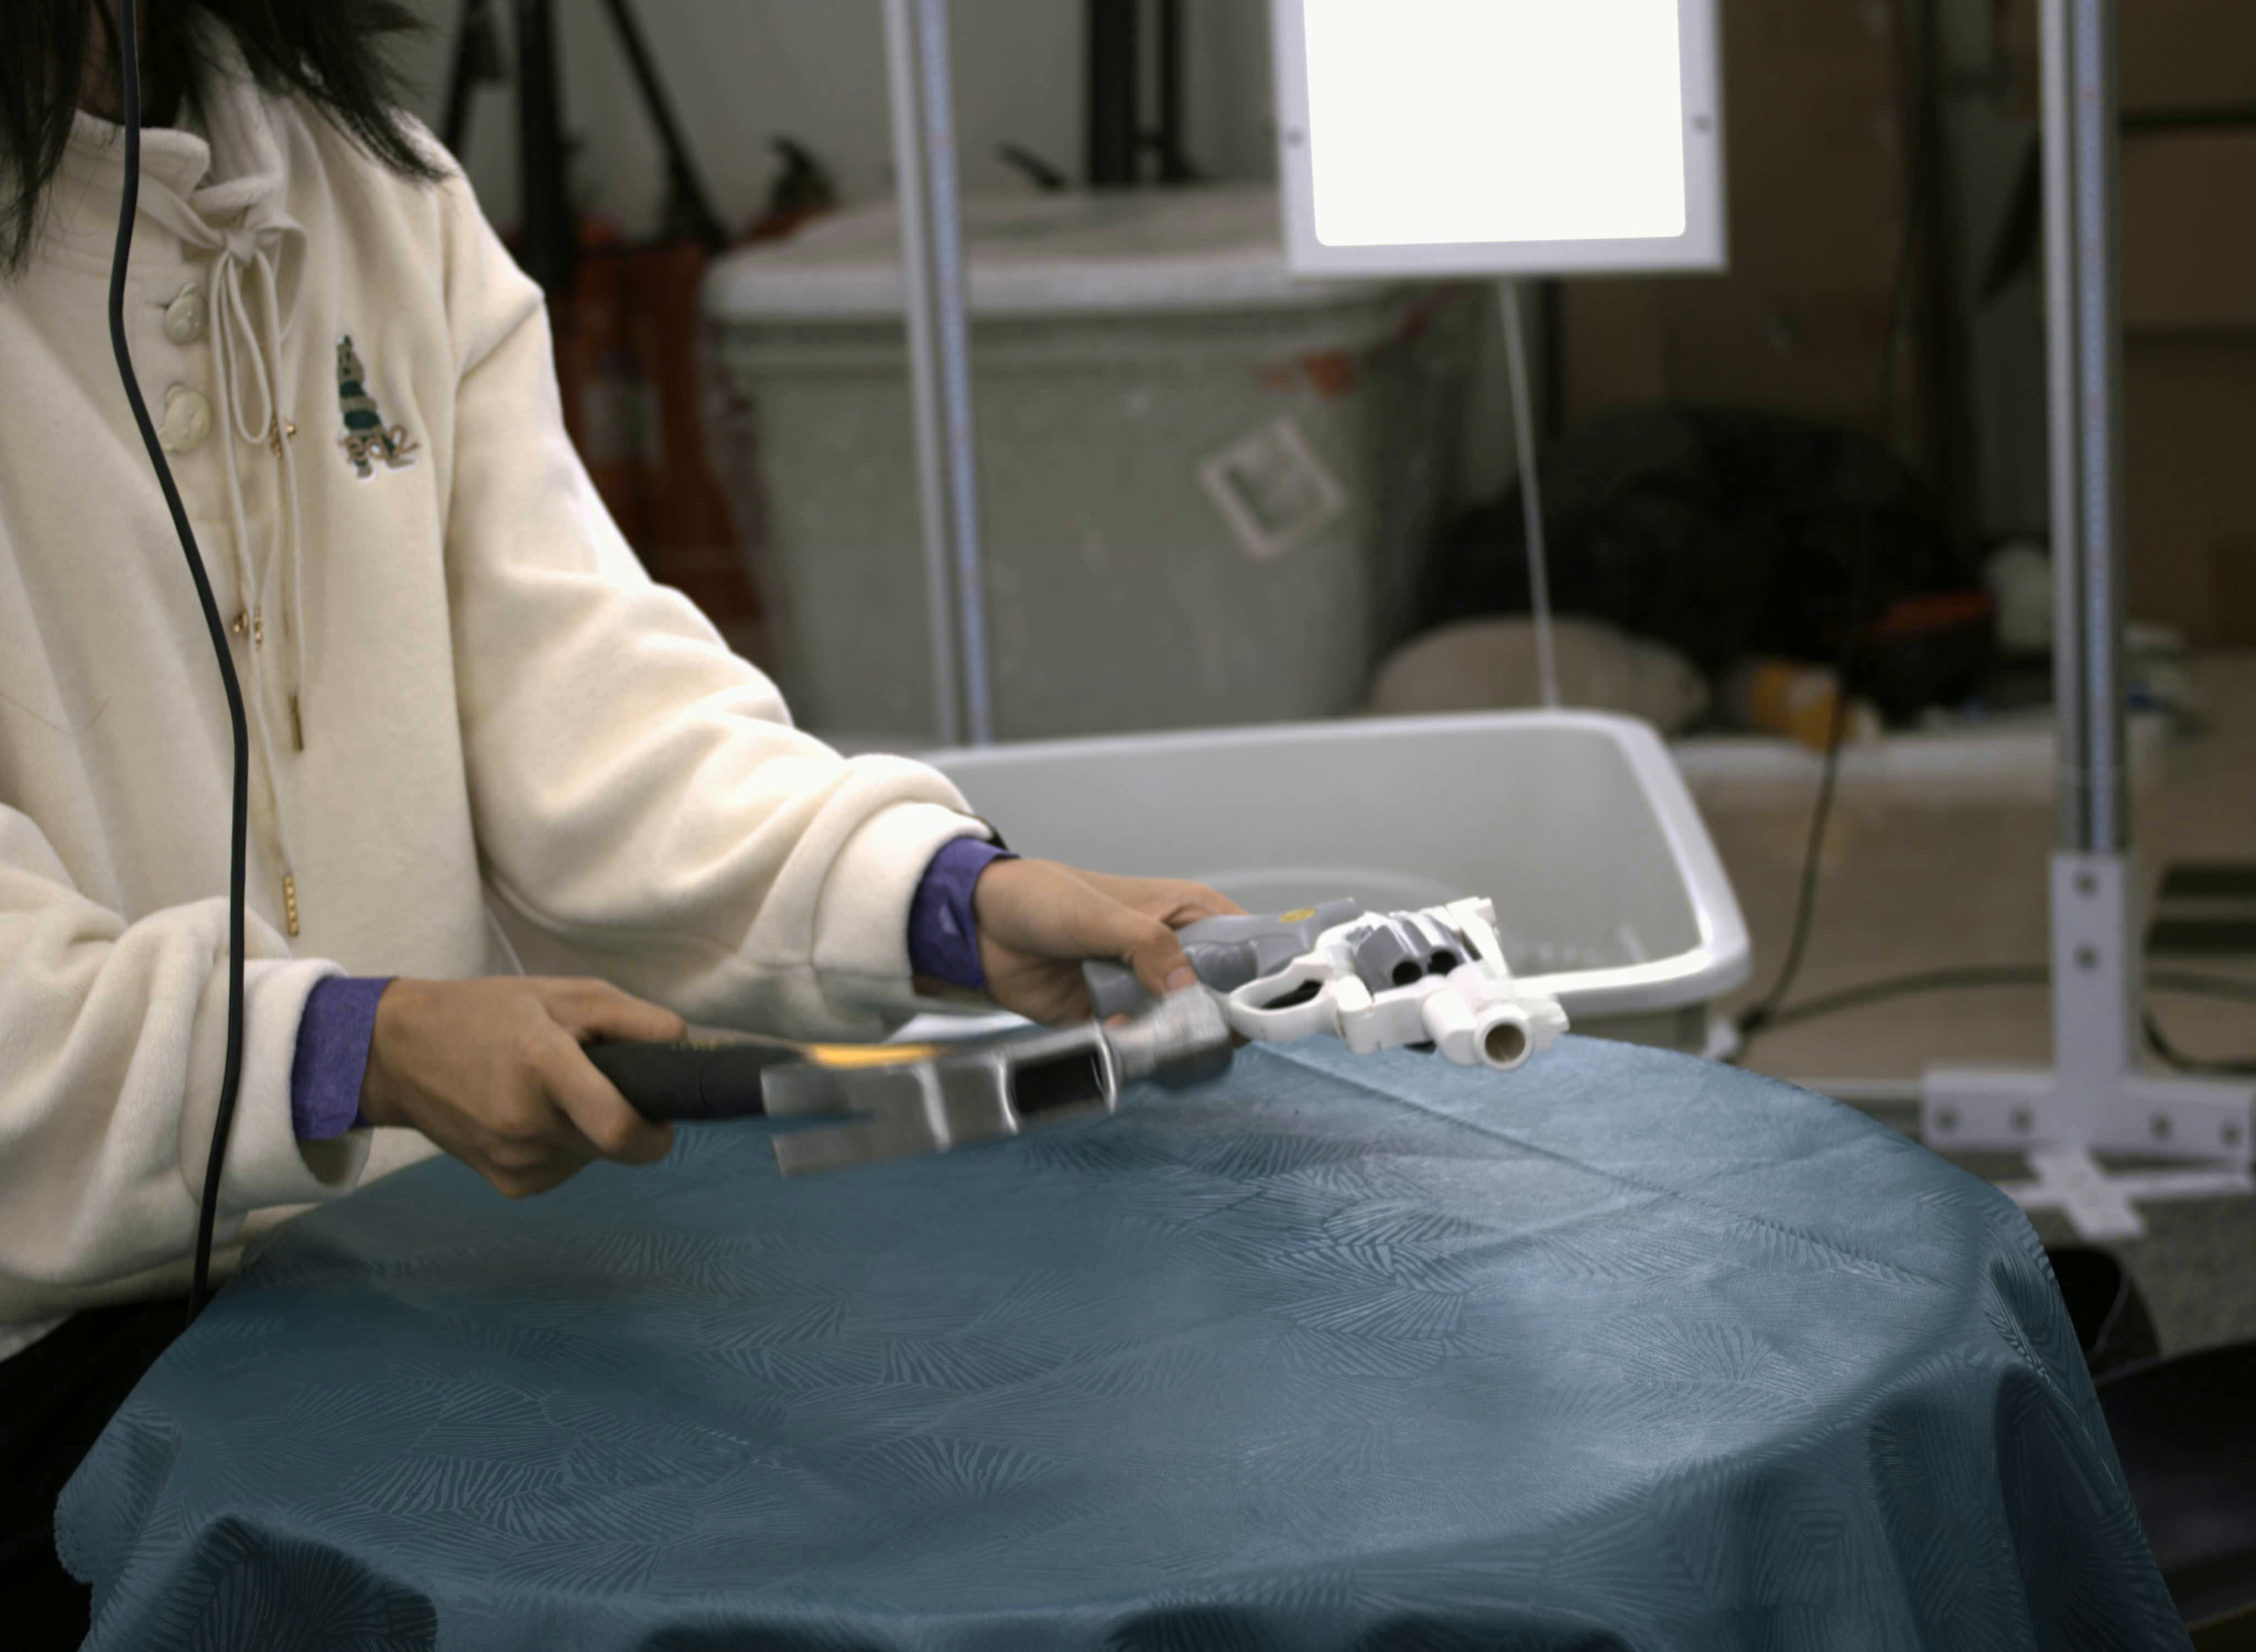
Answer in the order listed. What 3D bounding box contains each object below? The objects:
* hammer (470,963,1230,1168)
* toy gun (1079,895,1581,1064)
[{"bbox_3d":[-0.115,0.072,1.736,0.128,0.032,0.345,-16,8,-32],"label":"hammer"},{"bbox_3d":[0.065,0.057,1.885,0.141,0.039,0.210,-15,14,-6],"label":"toy gun"}]
